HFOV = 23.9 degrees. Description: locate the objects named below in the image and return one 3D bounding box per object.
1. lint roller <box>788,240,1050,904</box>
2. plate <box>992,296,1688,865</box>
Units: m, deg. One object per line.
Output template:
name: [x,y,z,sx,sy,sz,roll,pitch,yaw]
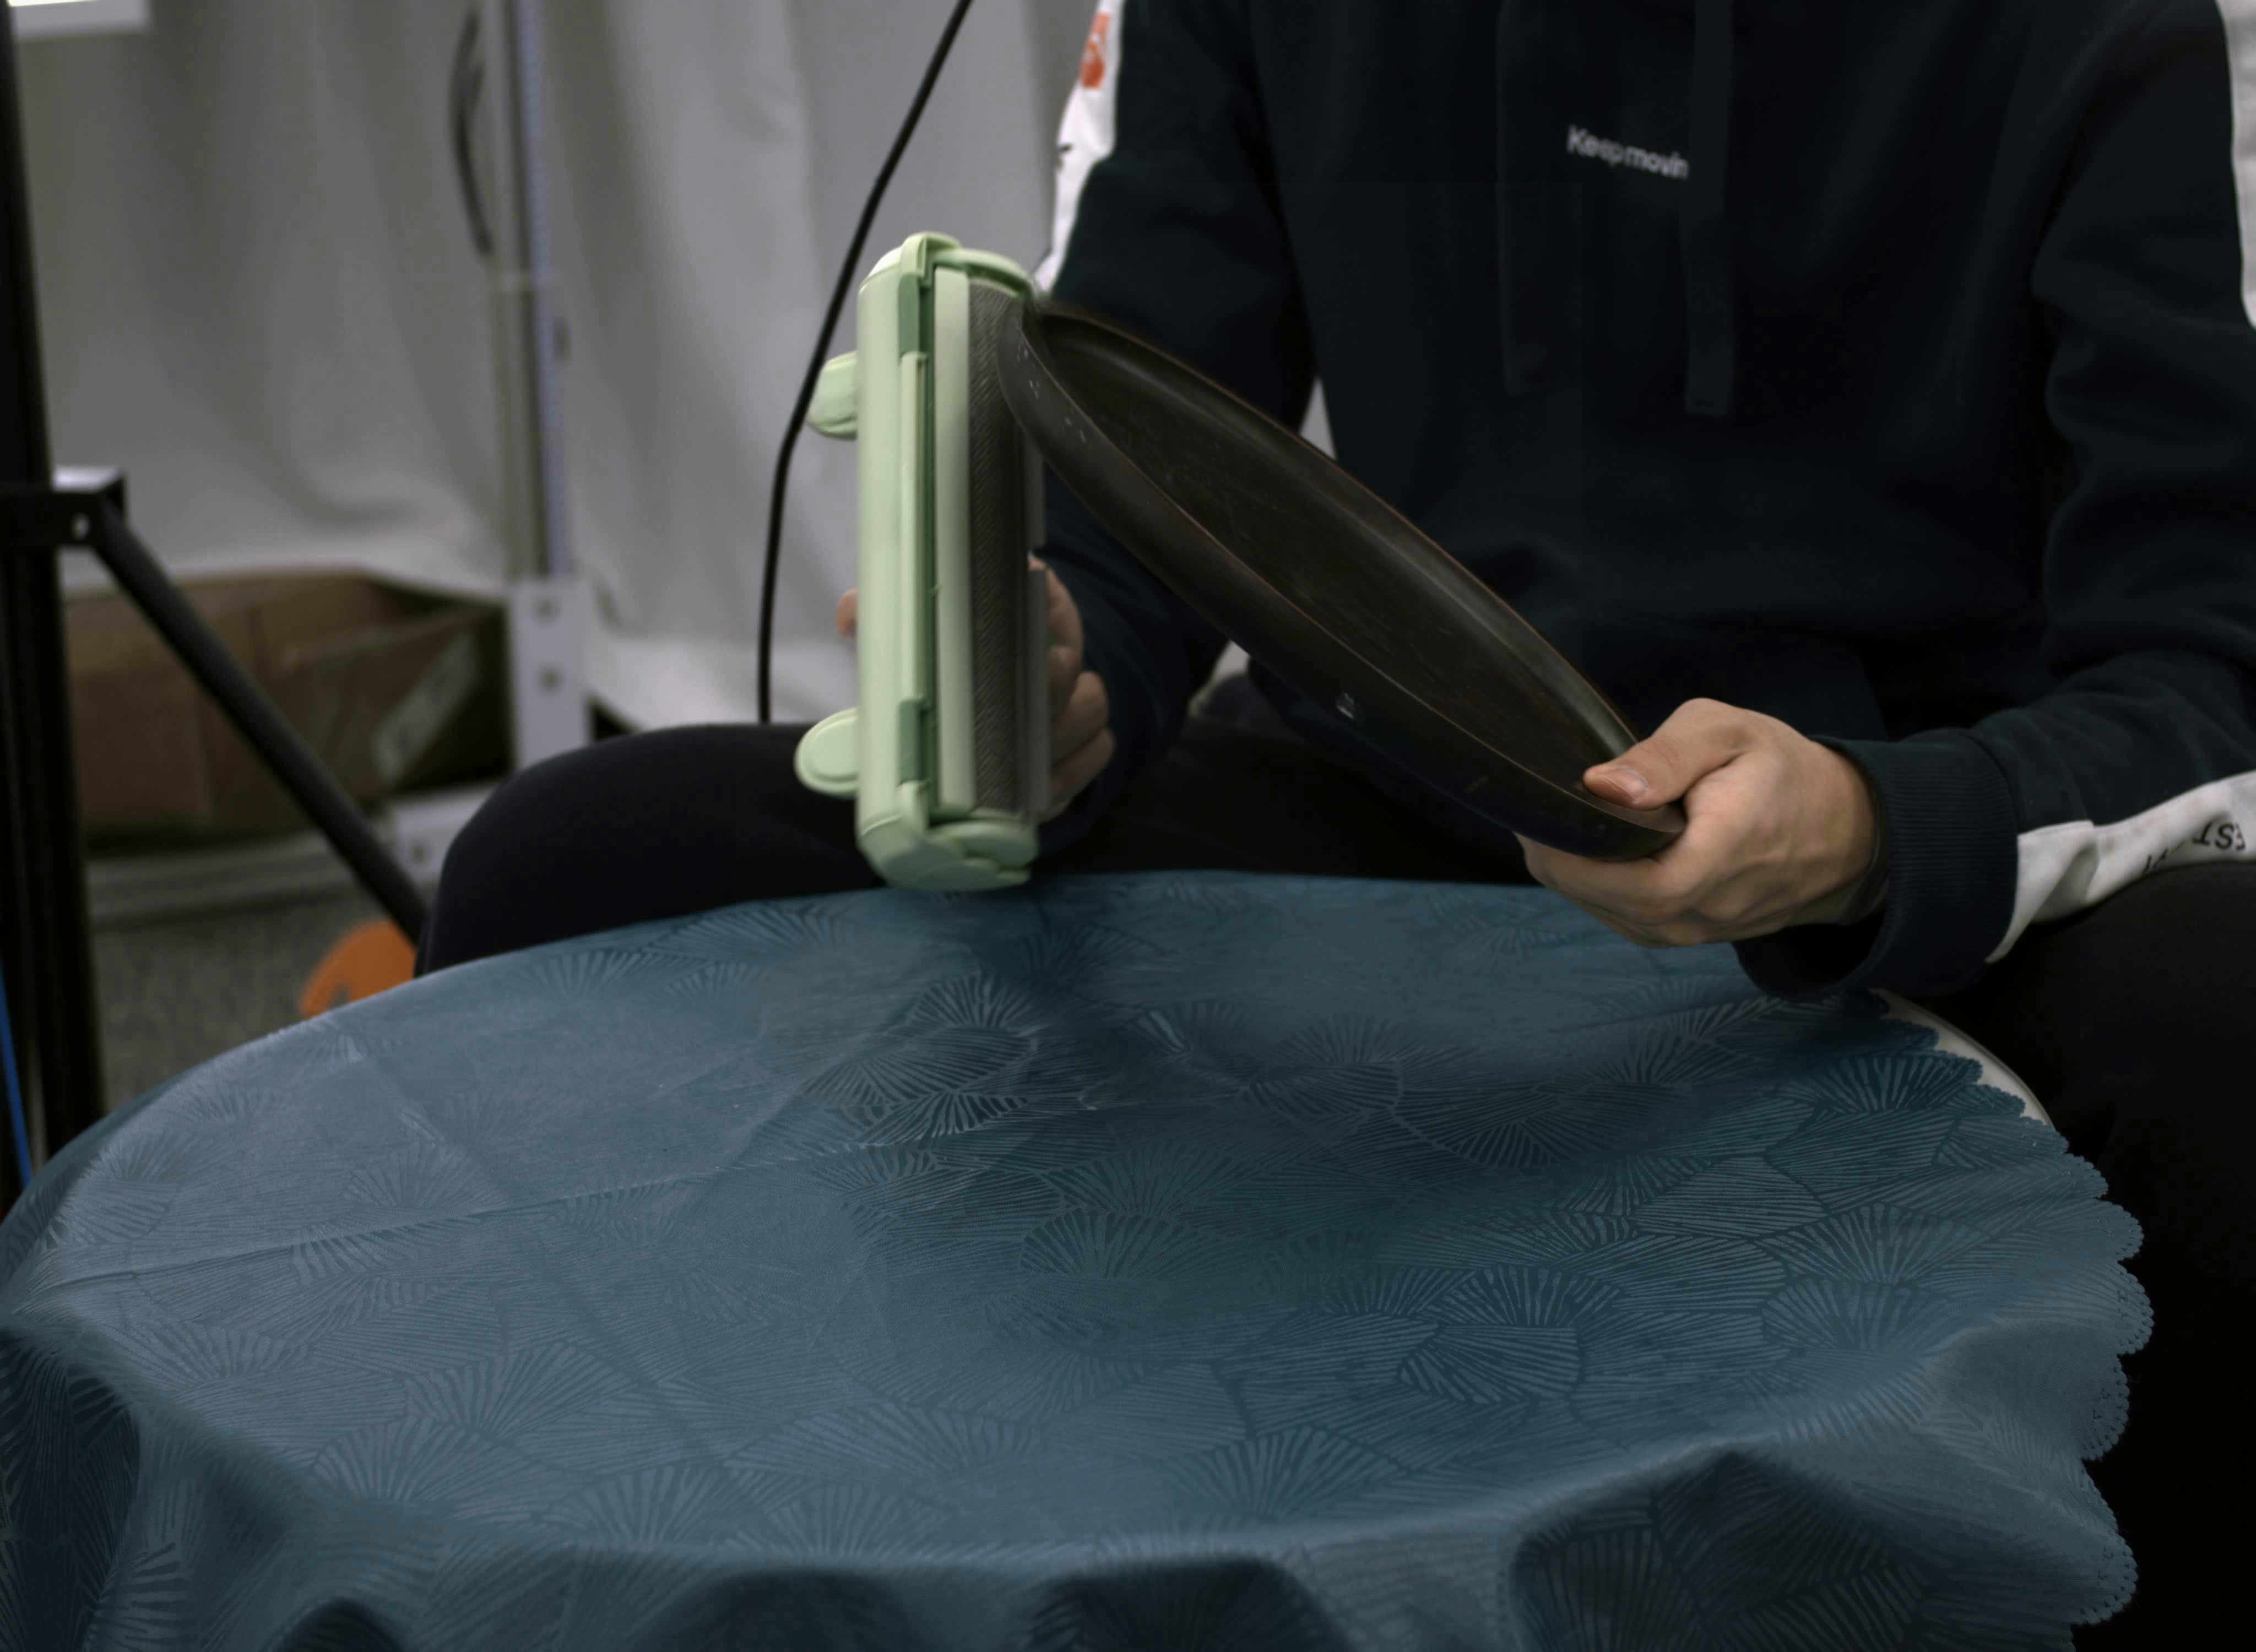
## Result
lint roller: [-0.065,-0.061,1.673,0.082,0.200,0.182,0,-17,-1]
plate: [0.061,-0.070,1.565,0.252,0.029,0.256,33,13,-11]
